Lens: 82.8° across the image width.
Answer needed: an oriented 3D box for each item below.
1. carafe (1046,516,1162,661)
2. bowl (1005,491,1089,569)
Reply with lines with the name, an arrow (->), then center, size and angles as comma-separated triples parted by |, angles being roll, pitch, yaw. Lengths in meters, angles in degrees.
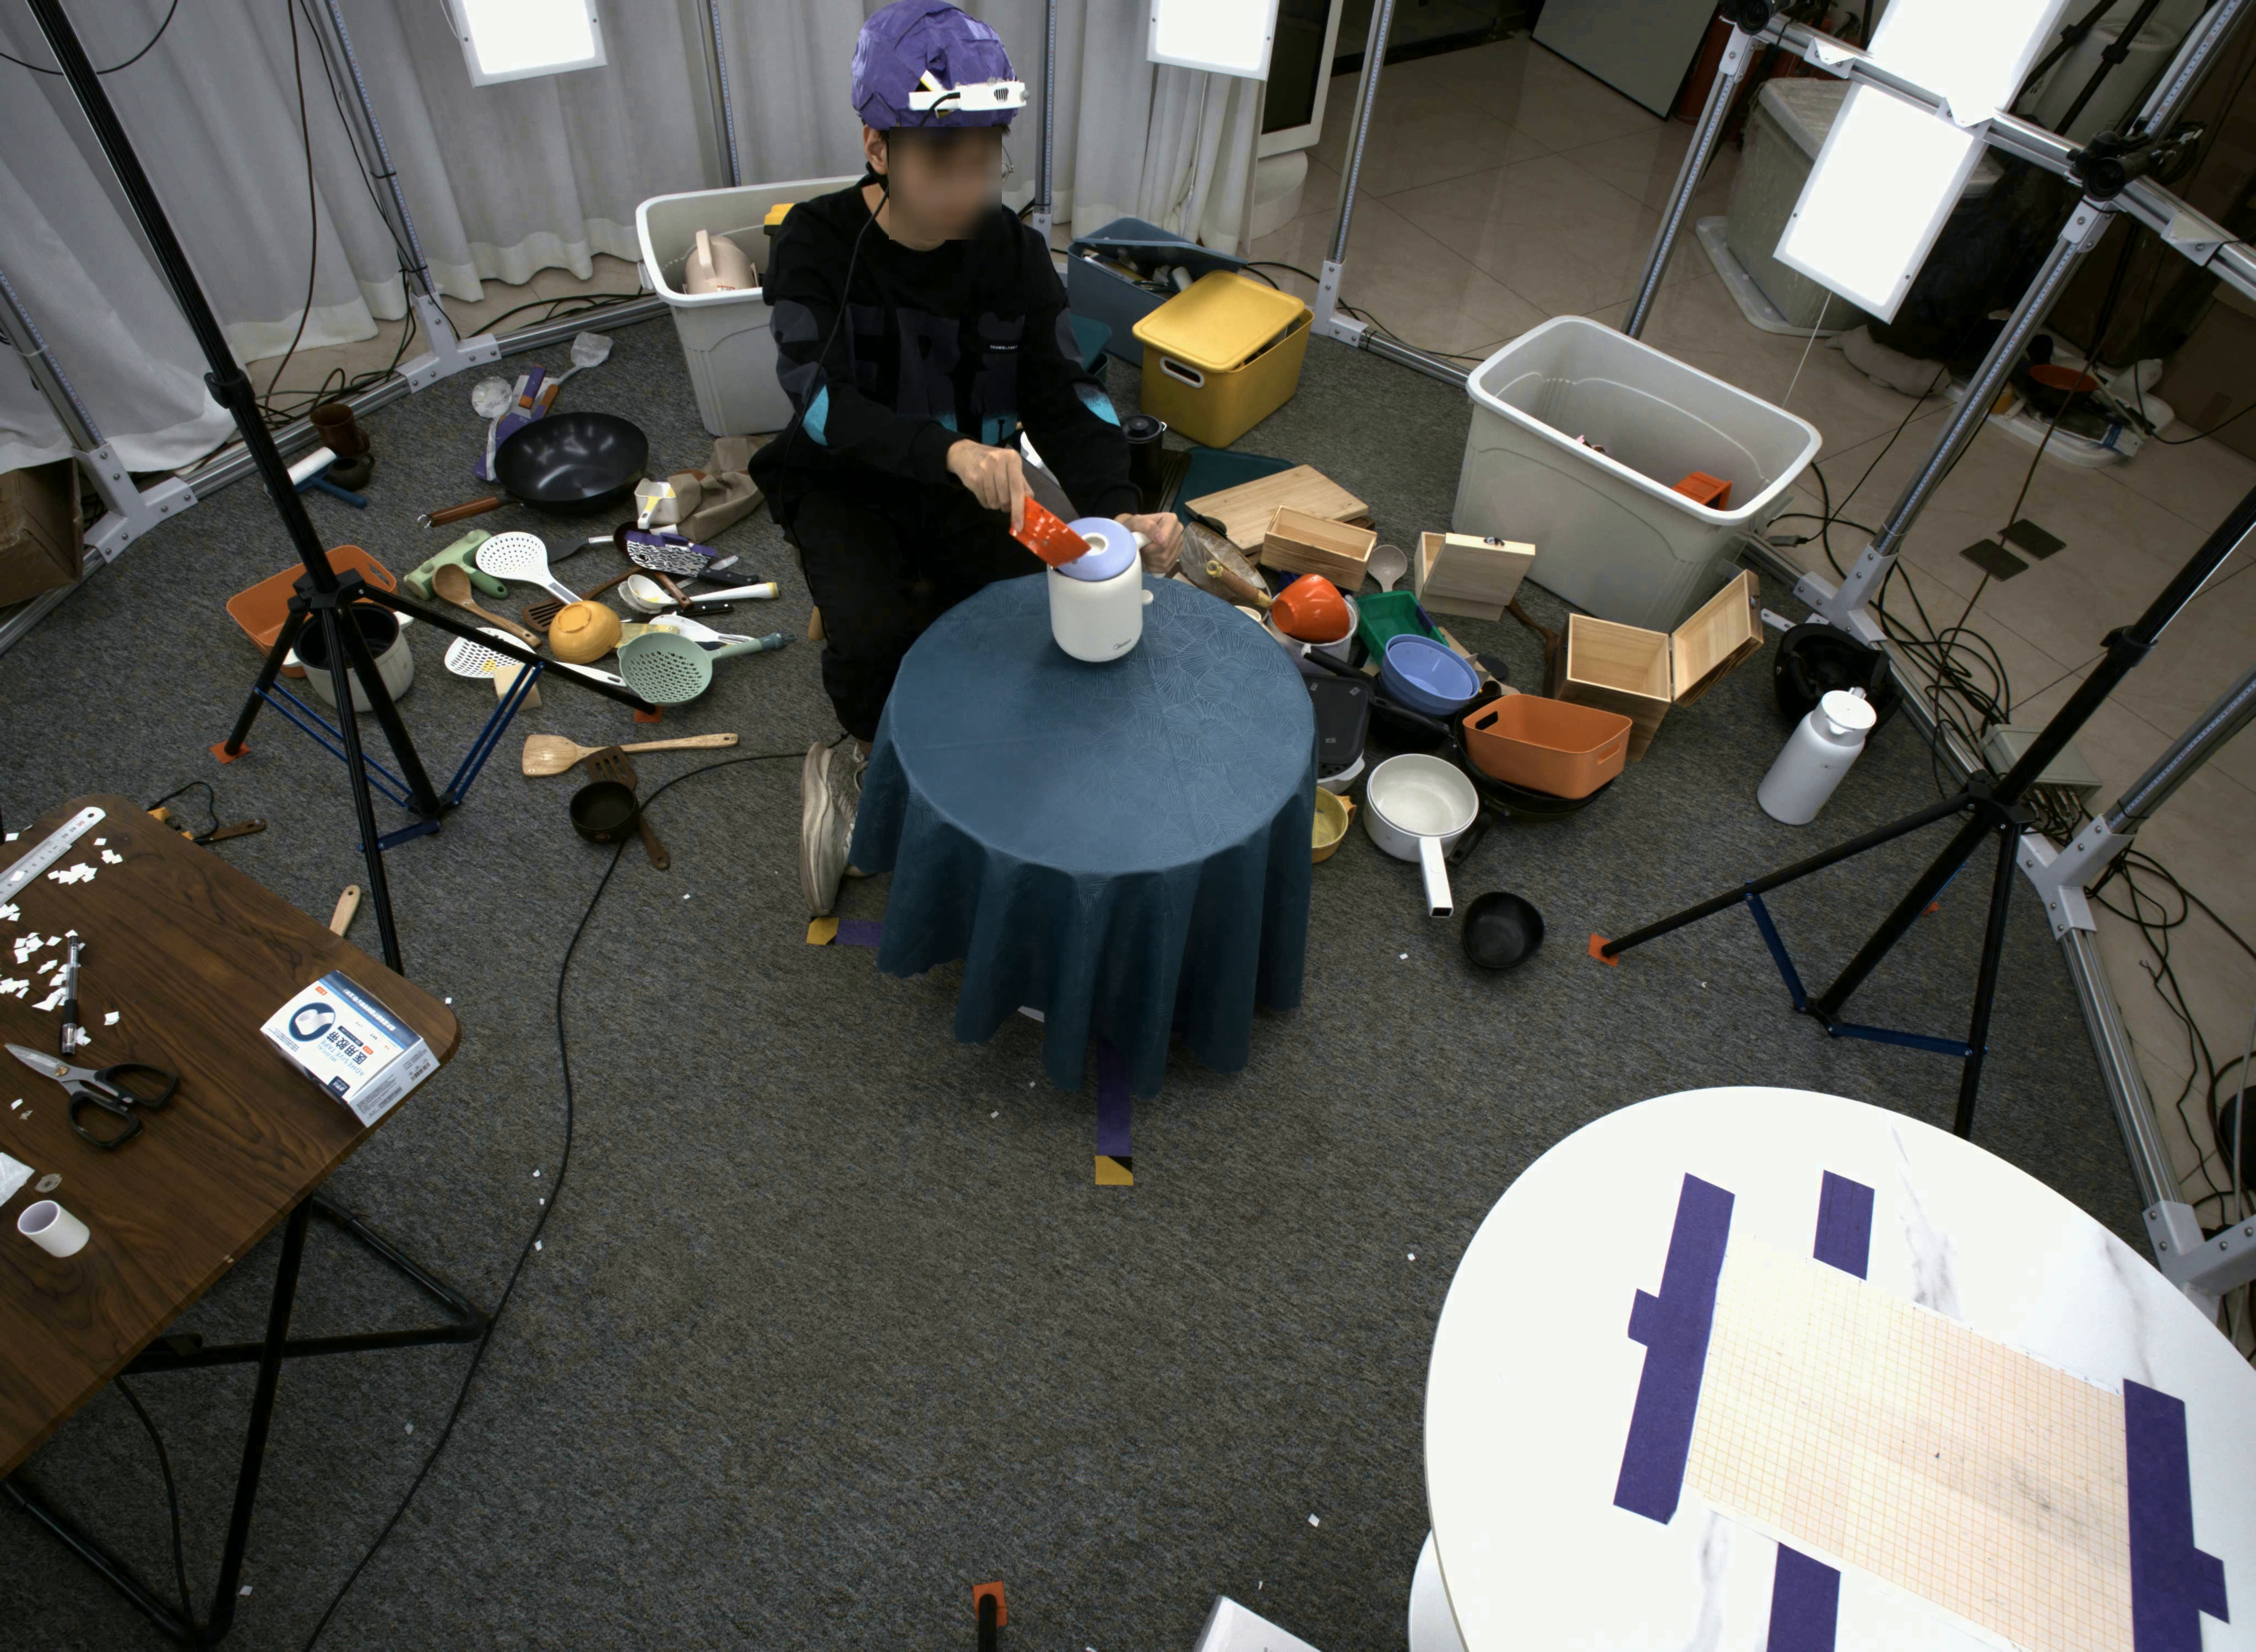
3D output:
carafe -> -0.027, -0.345, 1.820 | 0.192, 0.178, 0.134 | -30, 61, -21
bowl -> -0.112, -0.371, 1.646 | 0.121, 0.117, 0.051 | 42, 101, 27
